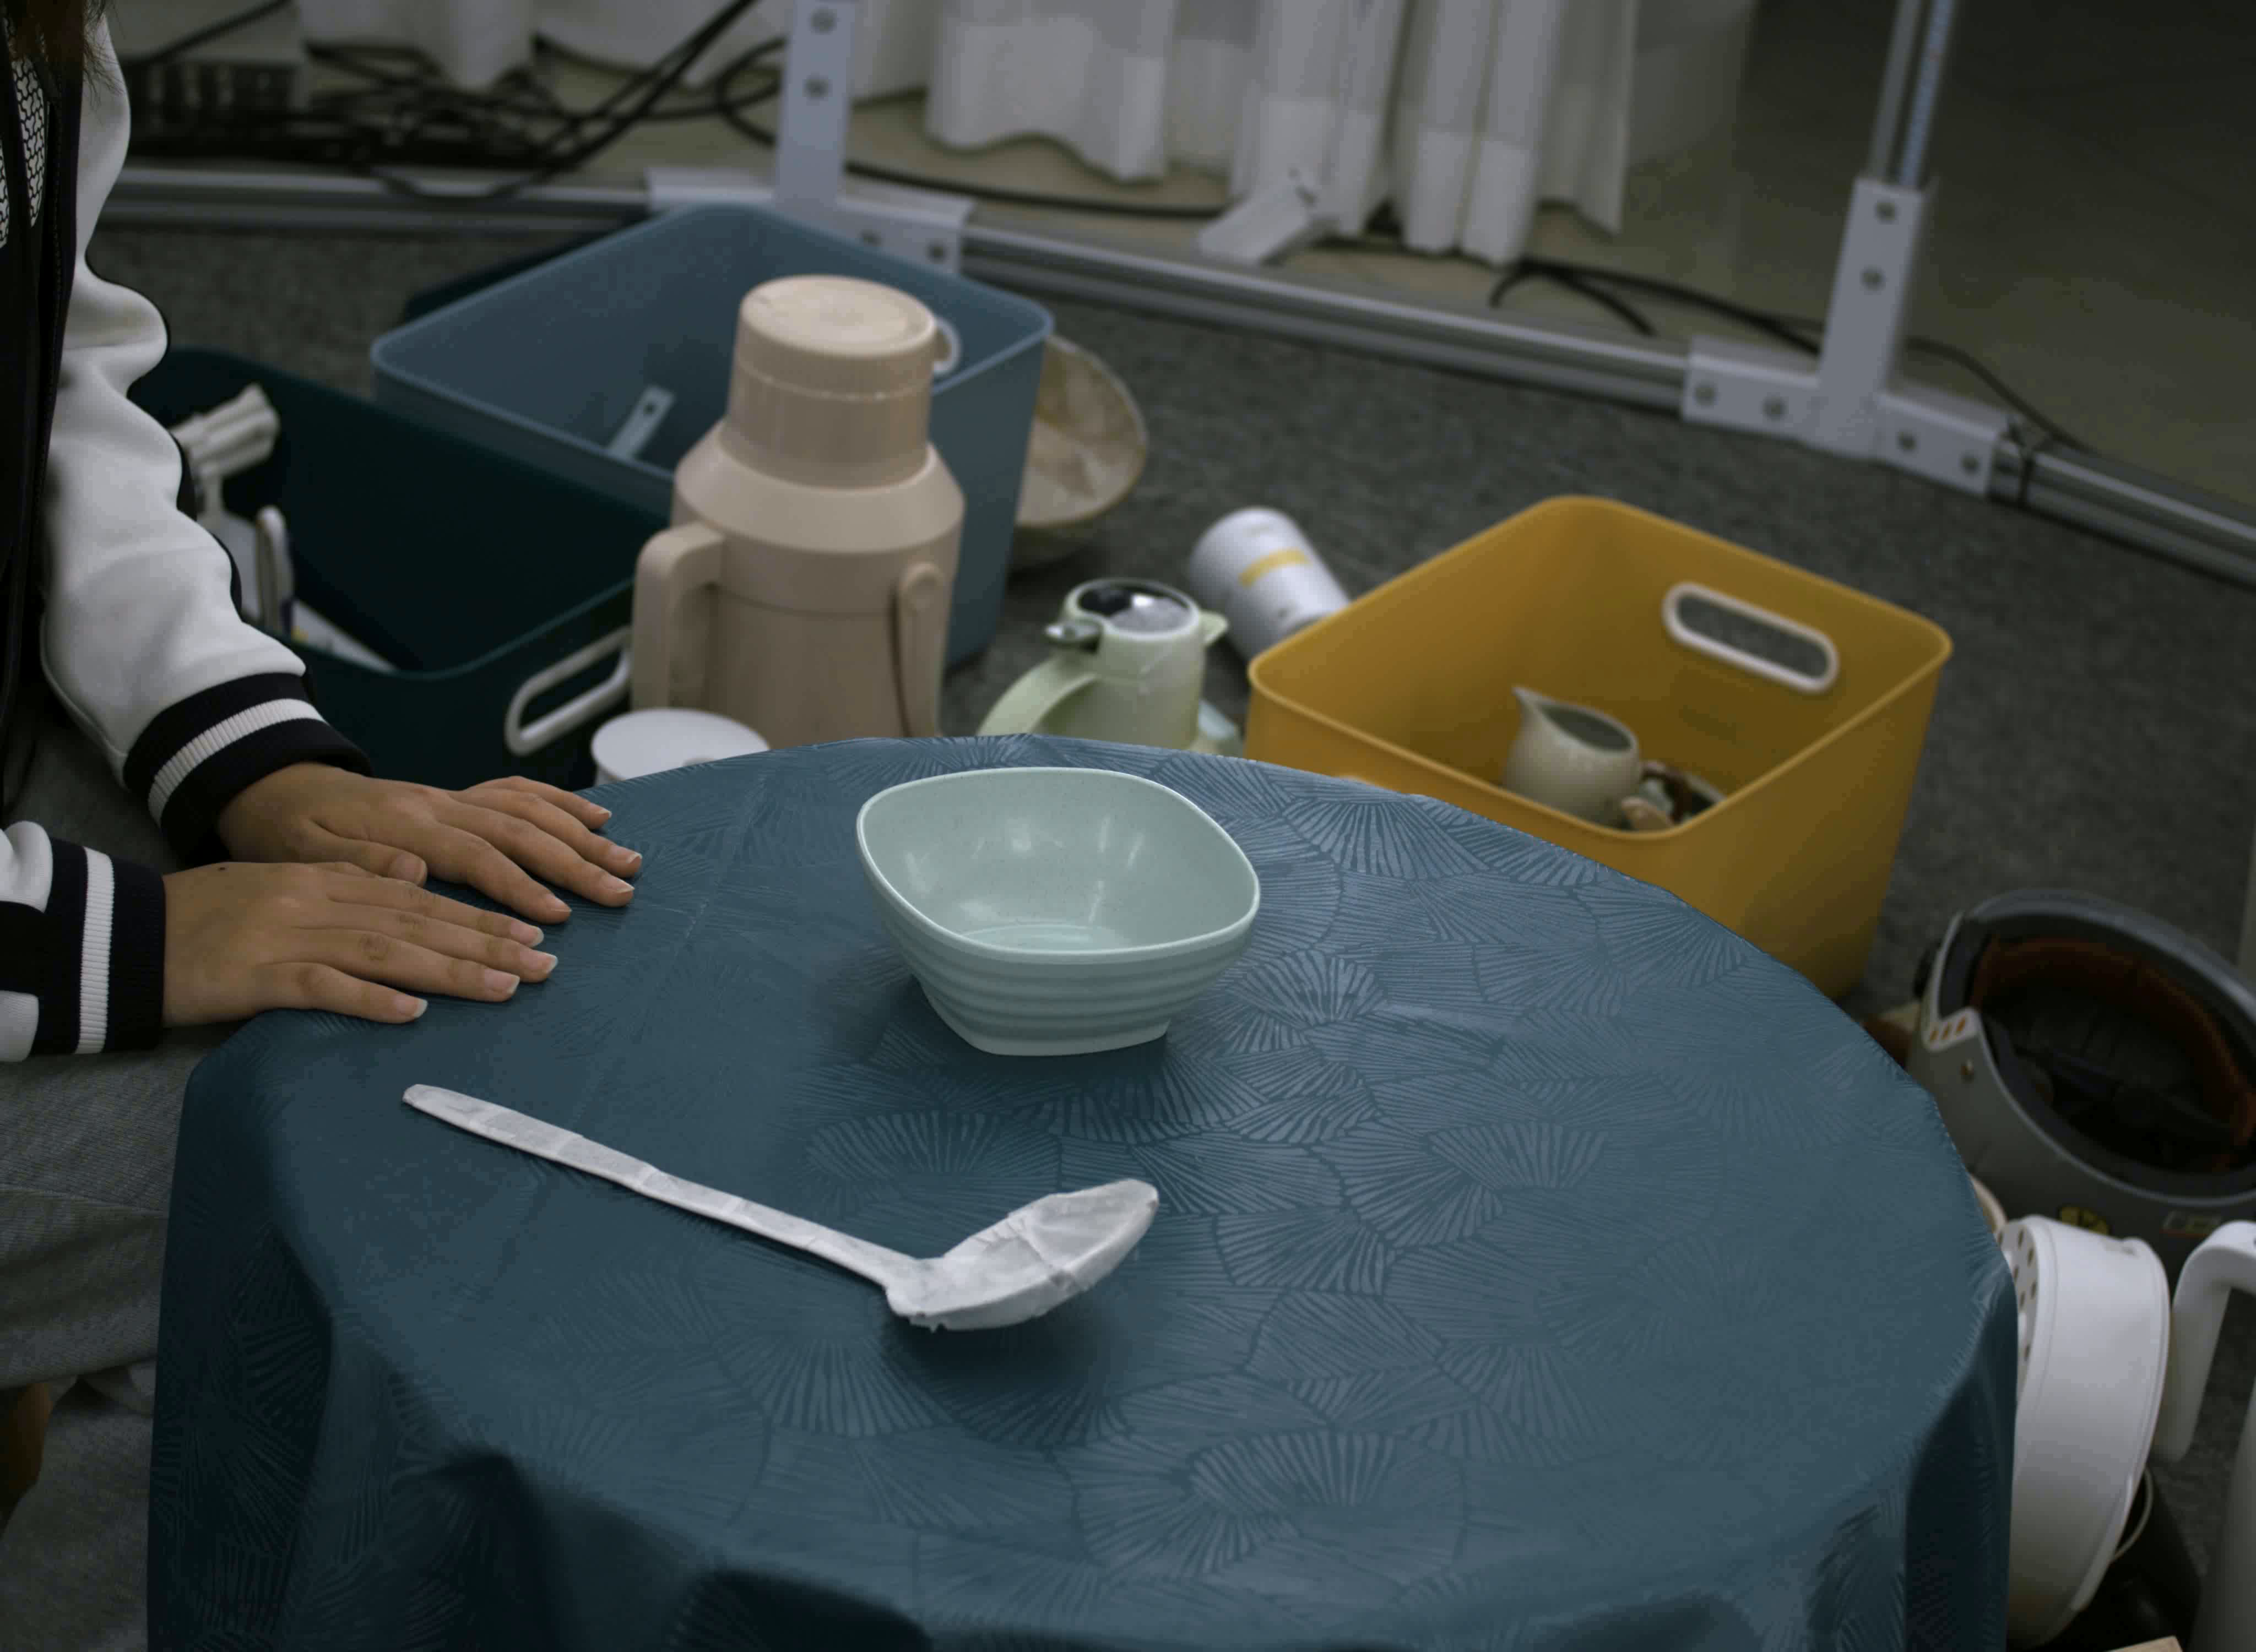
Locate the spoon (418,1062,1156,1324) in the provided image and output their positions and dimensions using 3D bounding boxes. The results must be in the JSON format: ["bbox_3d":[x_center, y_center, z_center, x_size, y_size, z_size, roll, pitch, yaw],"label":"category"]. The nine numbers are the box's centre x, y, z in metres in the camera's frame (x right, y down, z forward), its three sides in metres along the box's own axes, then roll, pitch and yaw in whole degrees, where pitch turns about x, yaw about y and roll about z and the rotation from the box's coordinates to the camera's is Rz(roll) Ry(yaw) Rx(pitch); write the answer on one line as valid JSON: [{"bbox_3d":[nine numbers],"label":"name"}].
[{"bbox_3d":[-0.117,0.103,1.752,0.279,0.059,0.100,21,25,25],"label":"spoon"}]

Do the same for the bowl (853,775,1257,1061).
[{"bbox_3d":[-0.029,0.038,1.905,0.151,0.058,0.152,5,26,-3],"label":"bowl"}]
